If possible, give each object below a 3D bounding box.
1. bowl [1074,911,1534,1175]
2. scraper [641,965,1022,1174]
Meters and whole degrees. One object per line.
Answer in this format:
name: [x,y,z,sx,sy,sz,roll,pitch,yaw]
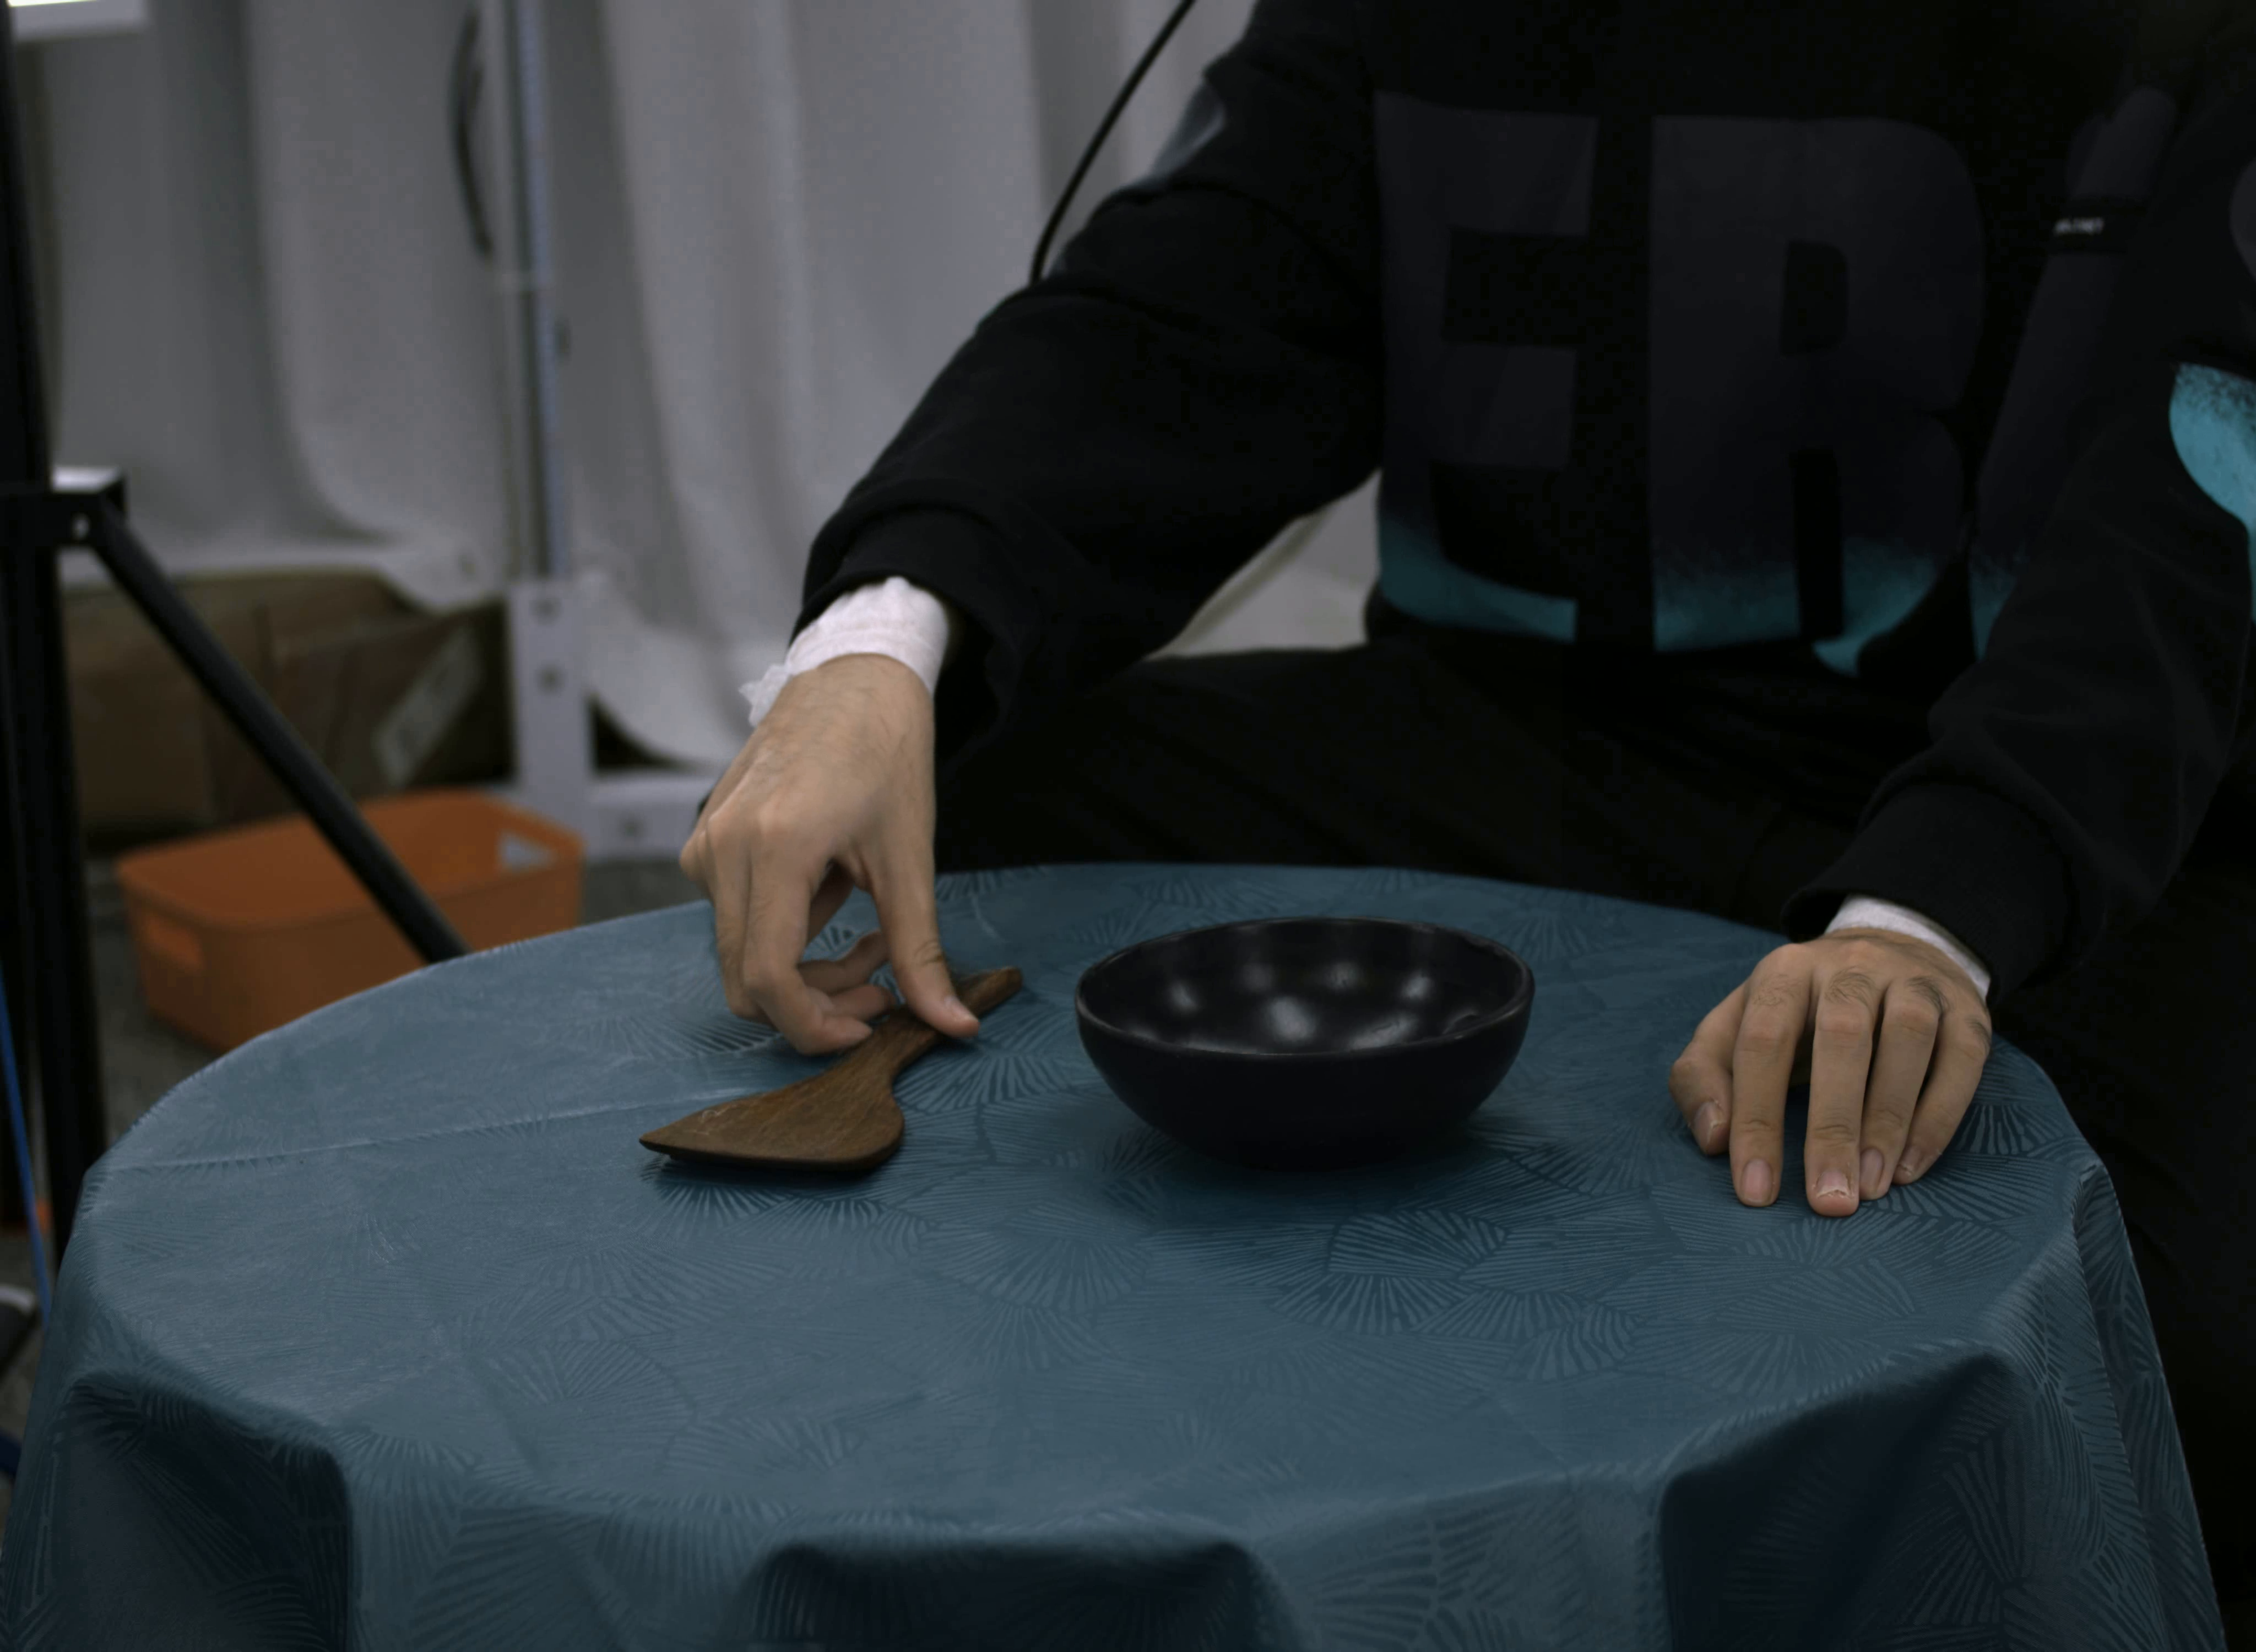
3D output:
bowl: [0.055,0.070,1.593,0.139,0.050,0.141,-6,16,0]
scraper: [-0.080,0.075,1.673,0.077,0.011,0.209,5,17,19]
